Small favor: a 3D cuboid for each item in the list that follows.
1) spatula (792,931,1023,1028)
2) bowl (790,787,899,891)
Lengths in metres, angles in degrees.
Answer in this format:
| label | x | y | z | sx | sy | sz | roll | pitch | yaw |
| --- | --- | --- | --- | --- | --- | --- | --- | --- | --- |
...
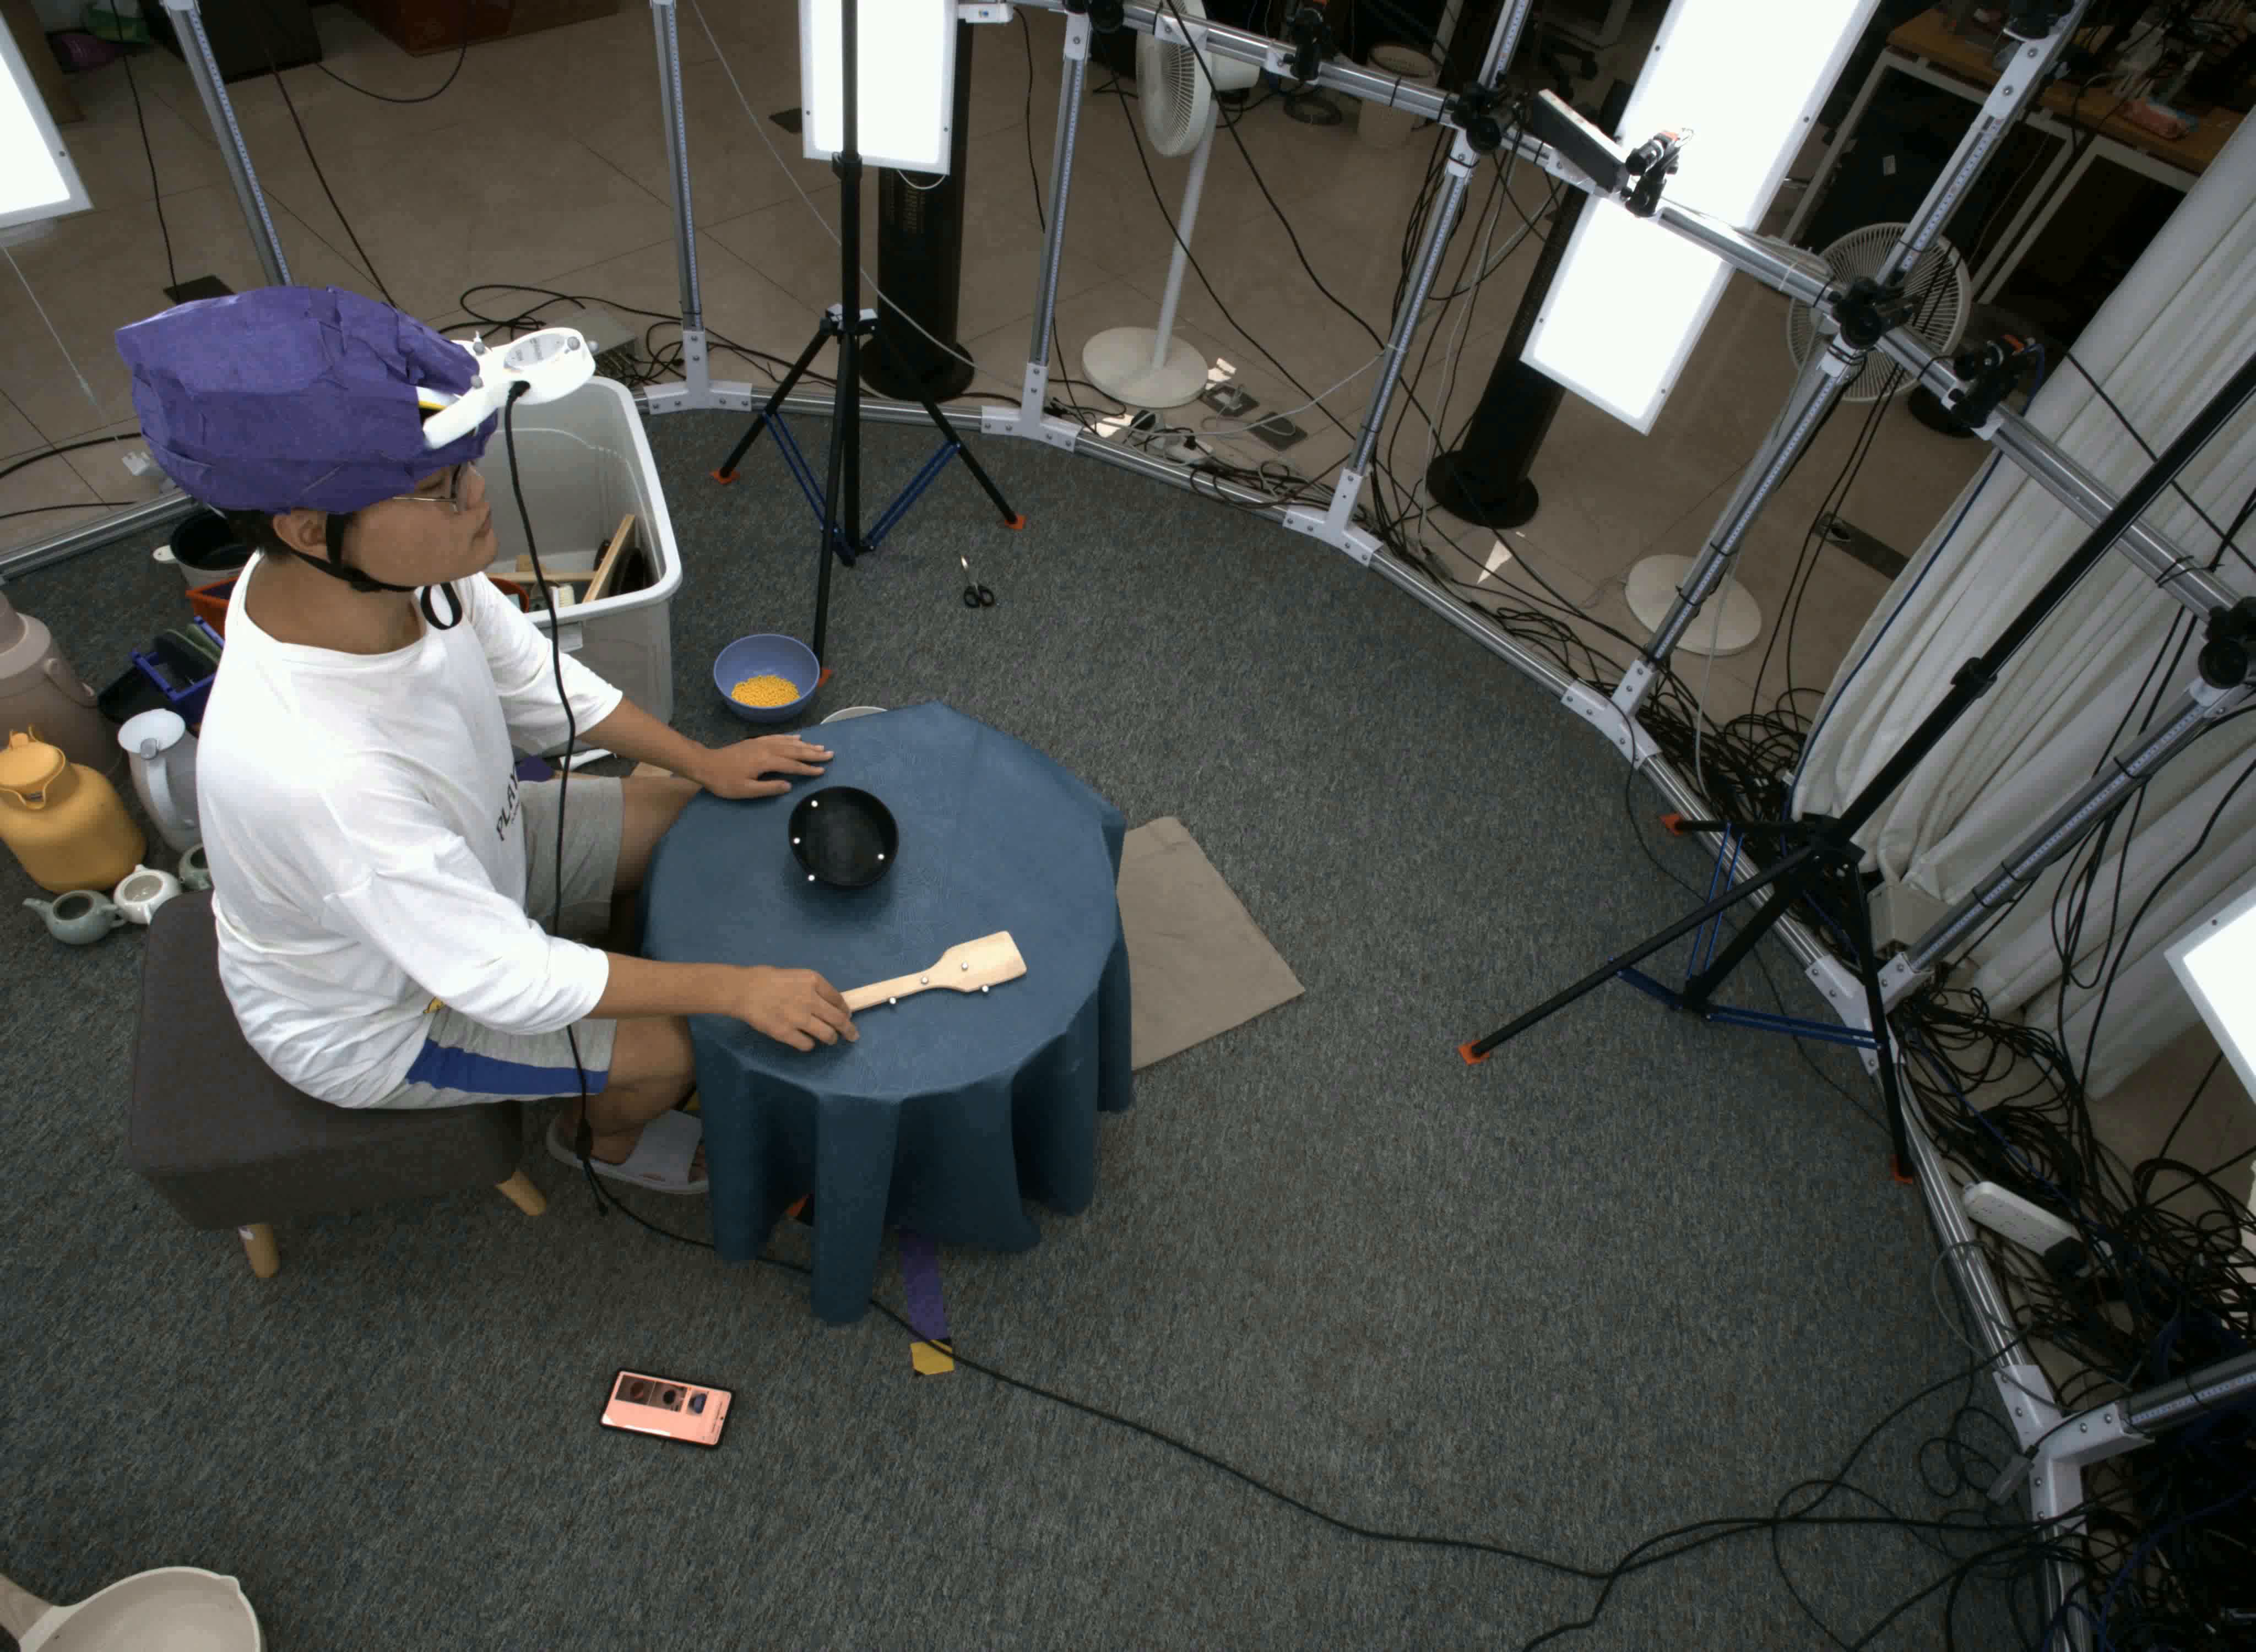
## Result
| label | x | y | z | sx | sy | sz | roll | pitch | yaw |
| --- | --- | --- | --- | --- | --- | --- | --- | --- | --- |
| spatula | -0.274 | 0.196 | 1.616 | 0.294 | 0.011 | 0.070 | -15 | 57 | -24 |
| bowl | -0.369 | 0.024 | 1.689 | 0.138 | 0.068 | 0.166 | -14 | 56 | -21 |
